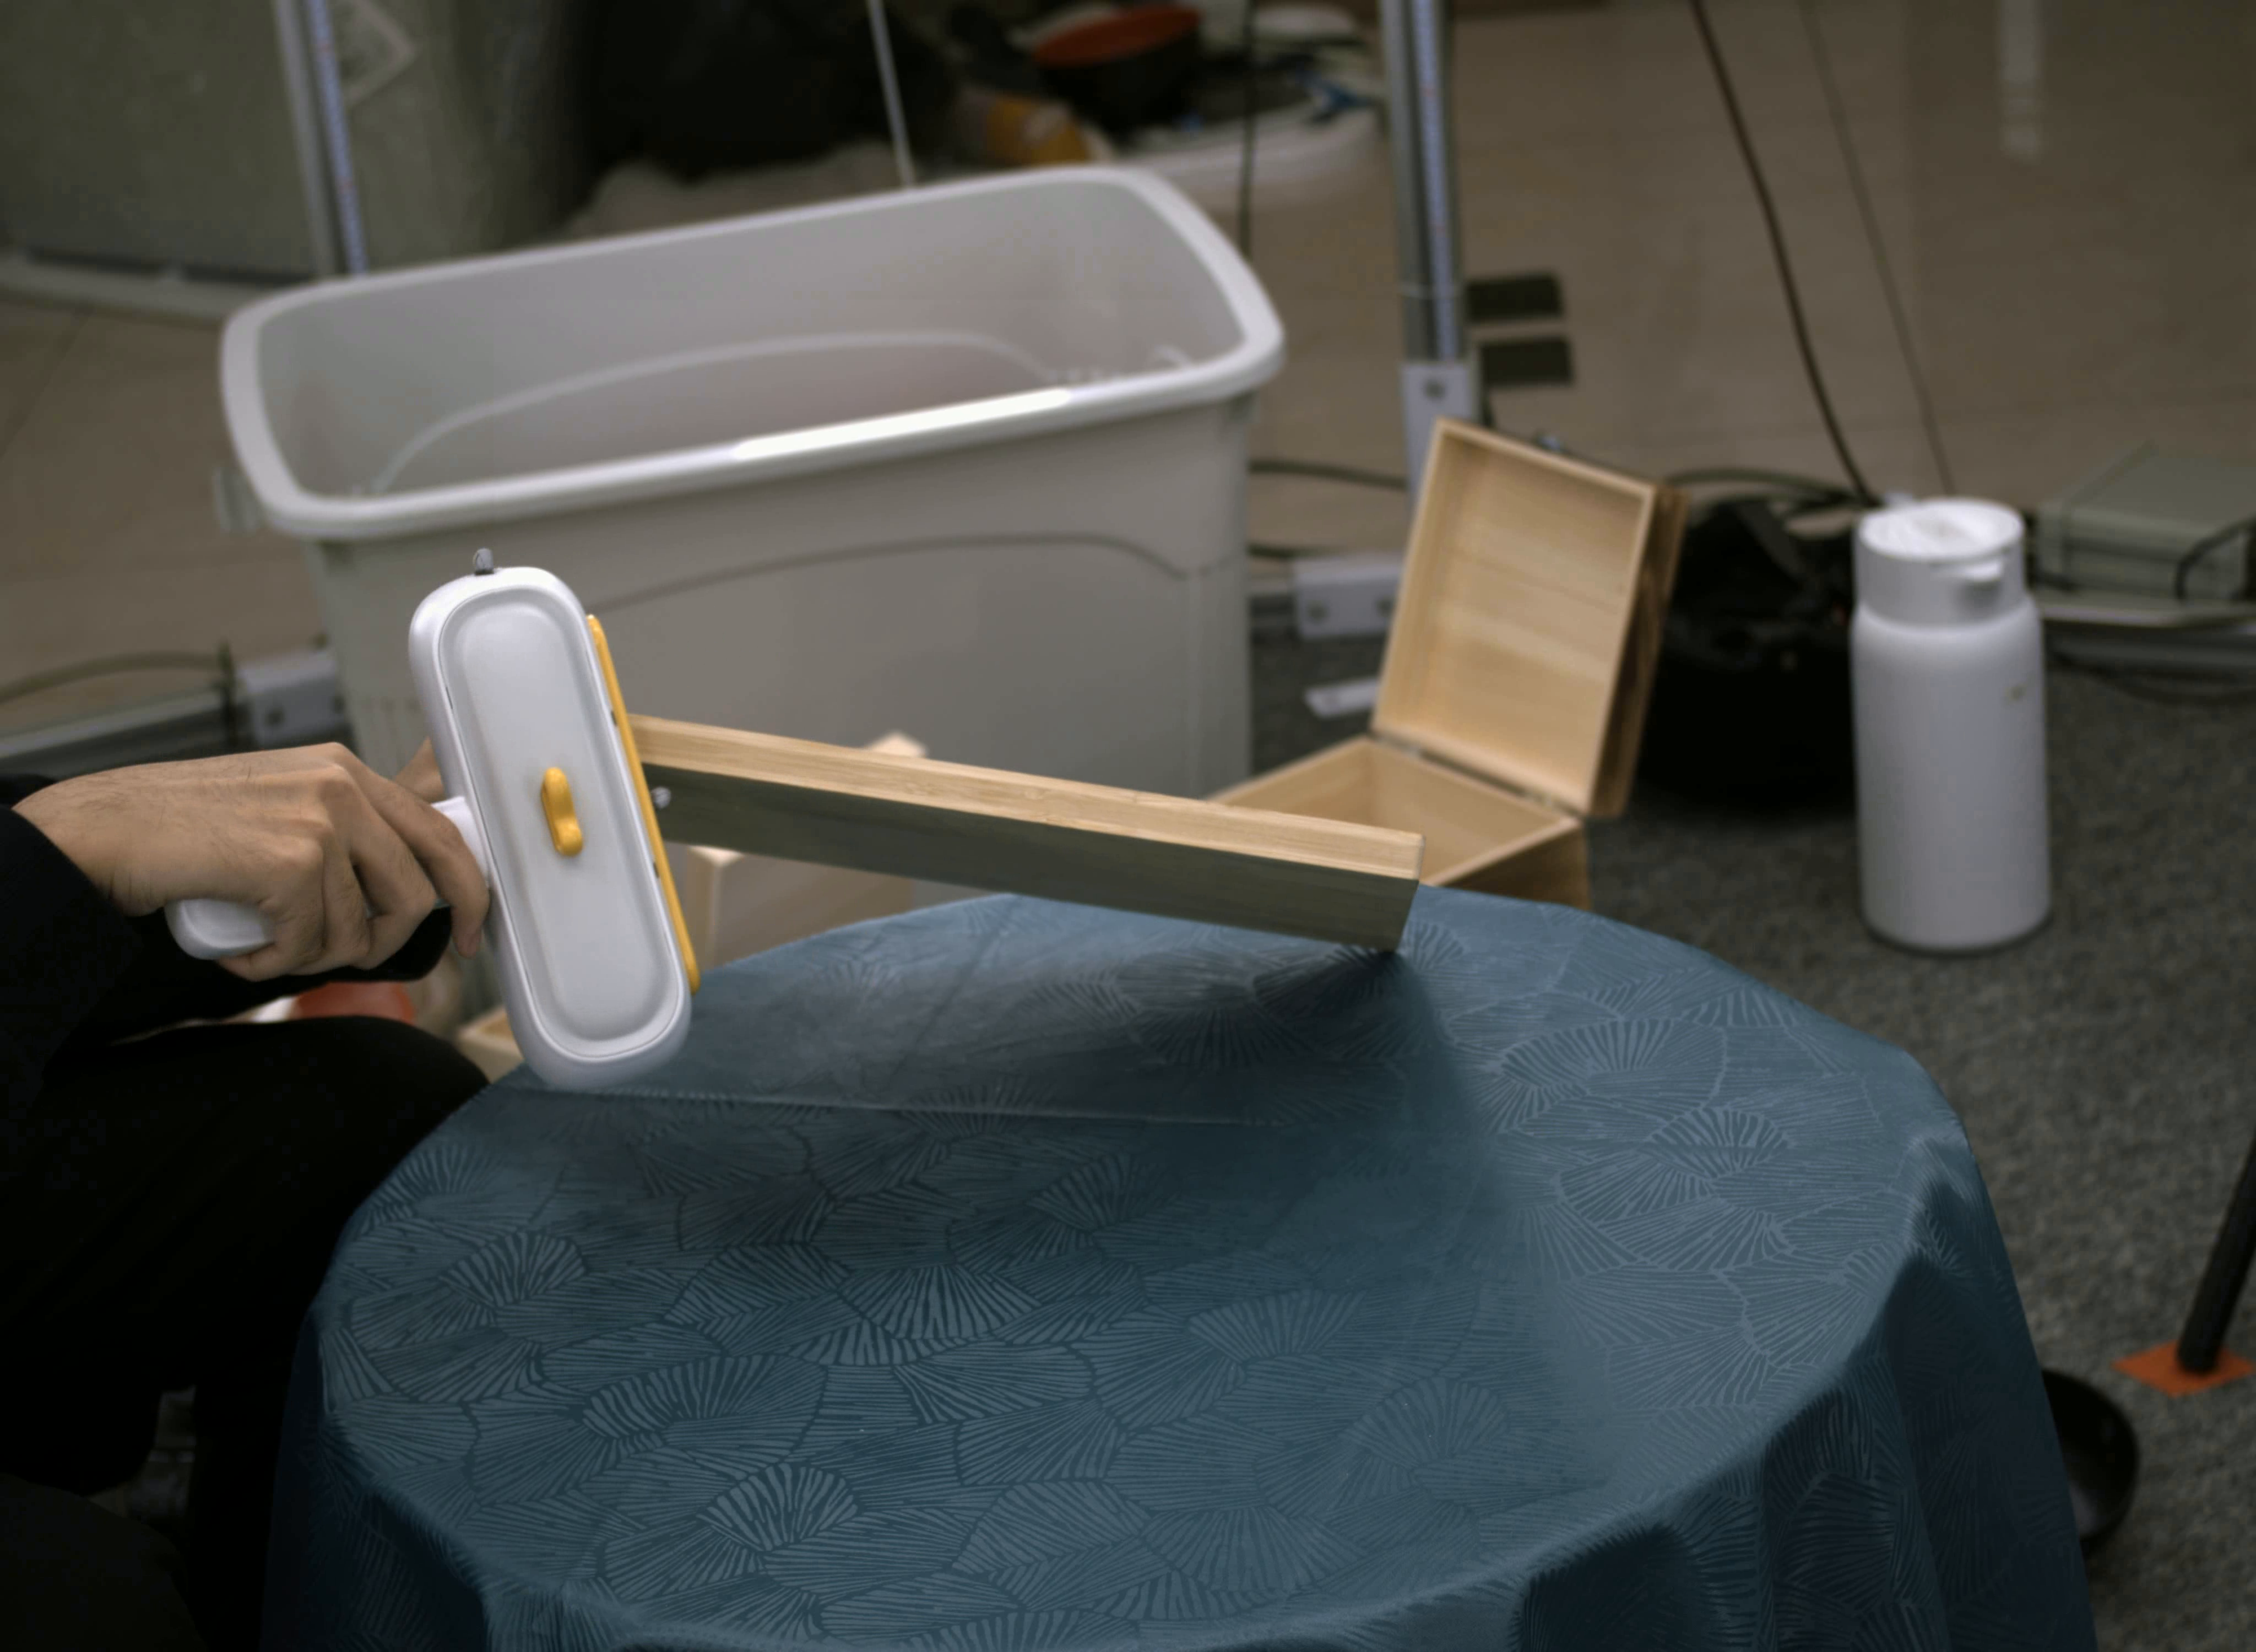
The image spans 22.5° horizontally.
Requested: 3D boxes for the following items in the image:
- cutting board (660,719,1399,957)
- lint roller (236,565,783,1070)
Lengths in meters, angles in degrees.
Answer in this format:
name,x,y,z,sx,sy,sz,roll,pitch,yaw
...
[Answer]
name,x,y,z,sx,sy,sz,roll,pitch,yaw
cutting board,-0.064,0.002,2.195,0.348,0.023,0.252,9,-8,1
lint roller,-0.234,0.019,2.019,0.191,0.193,0.074,-27,1,-23
